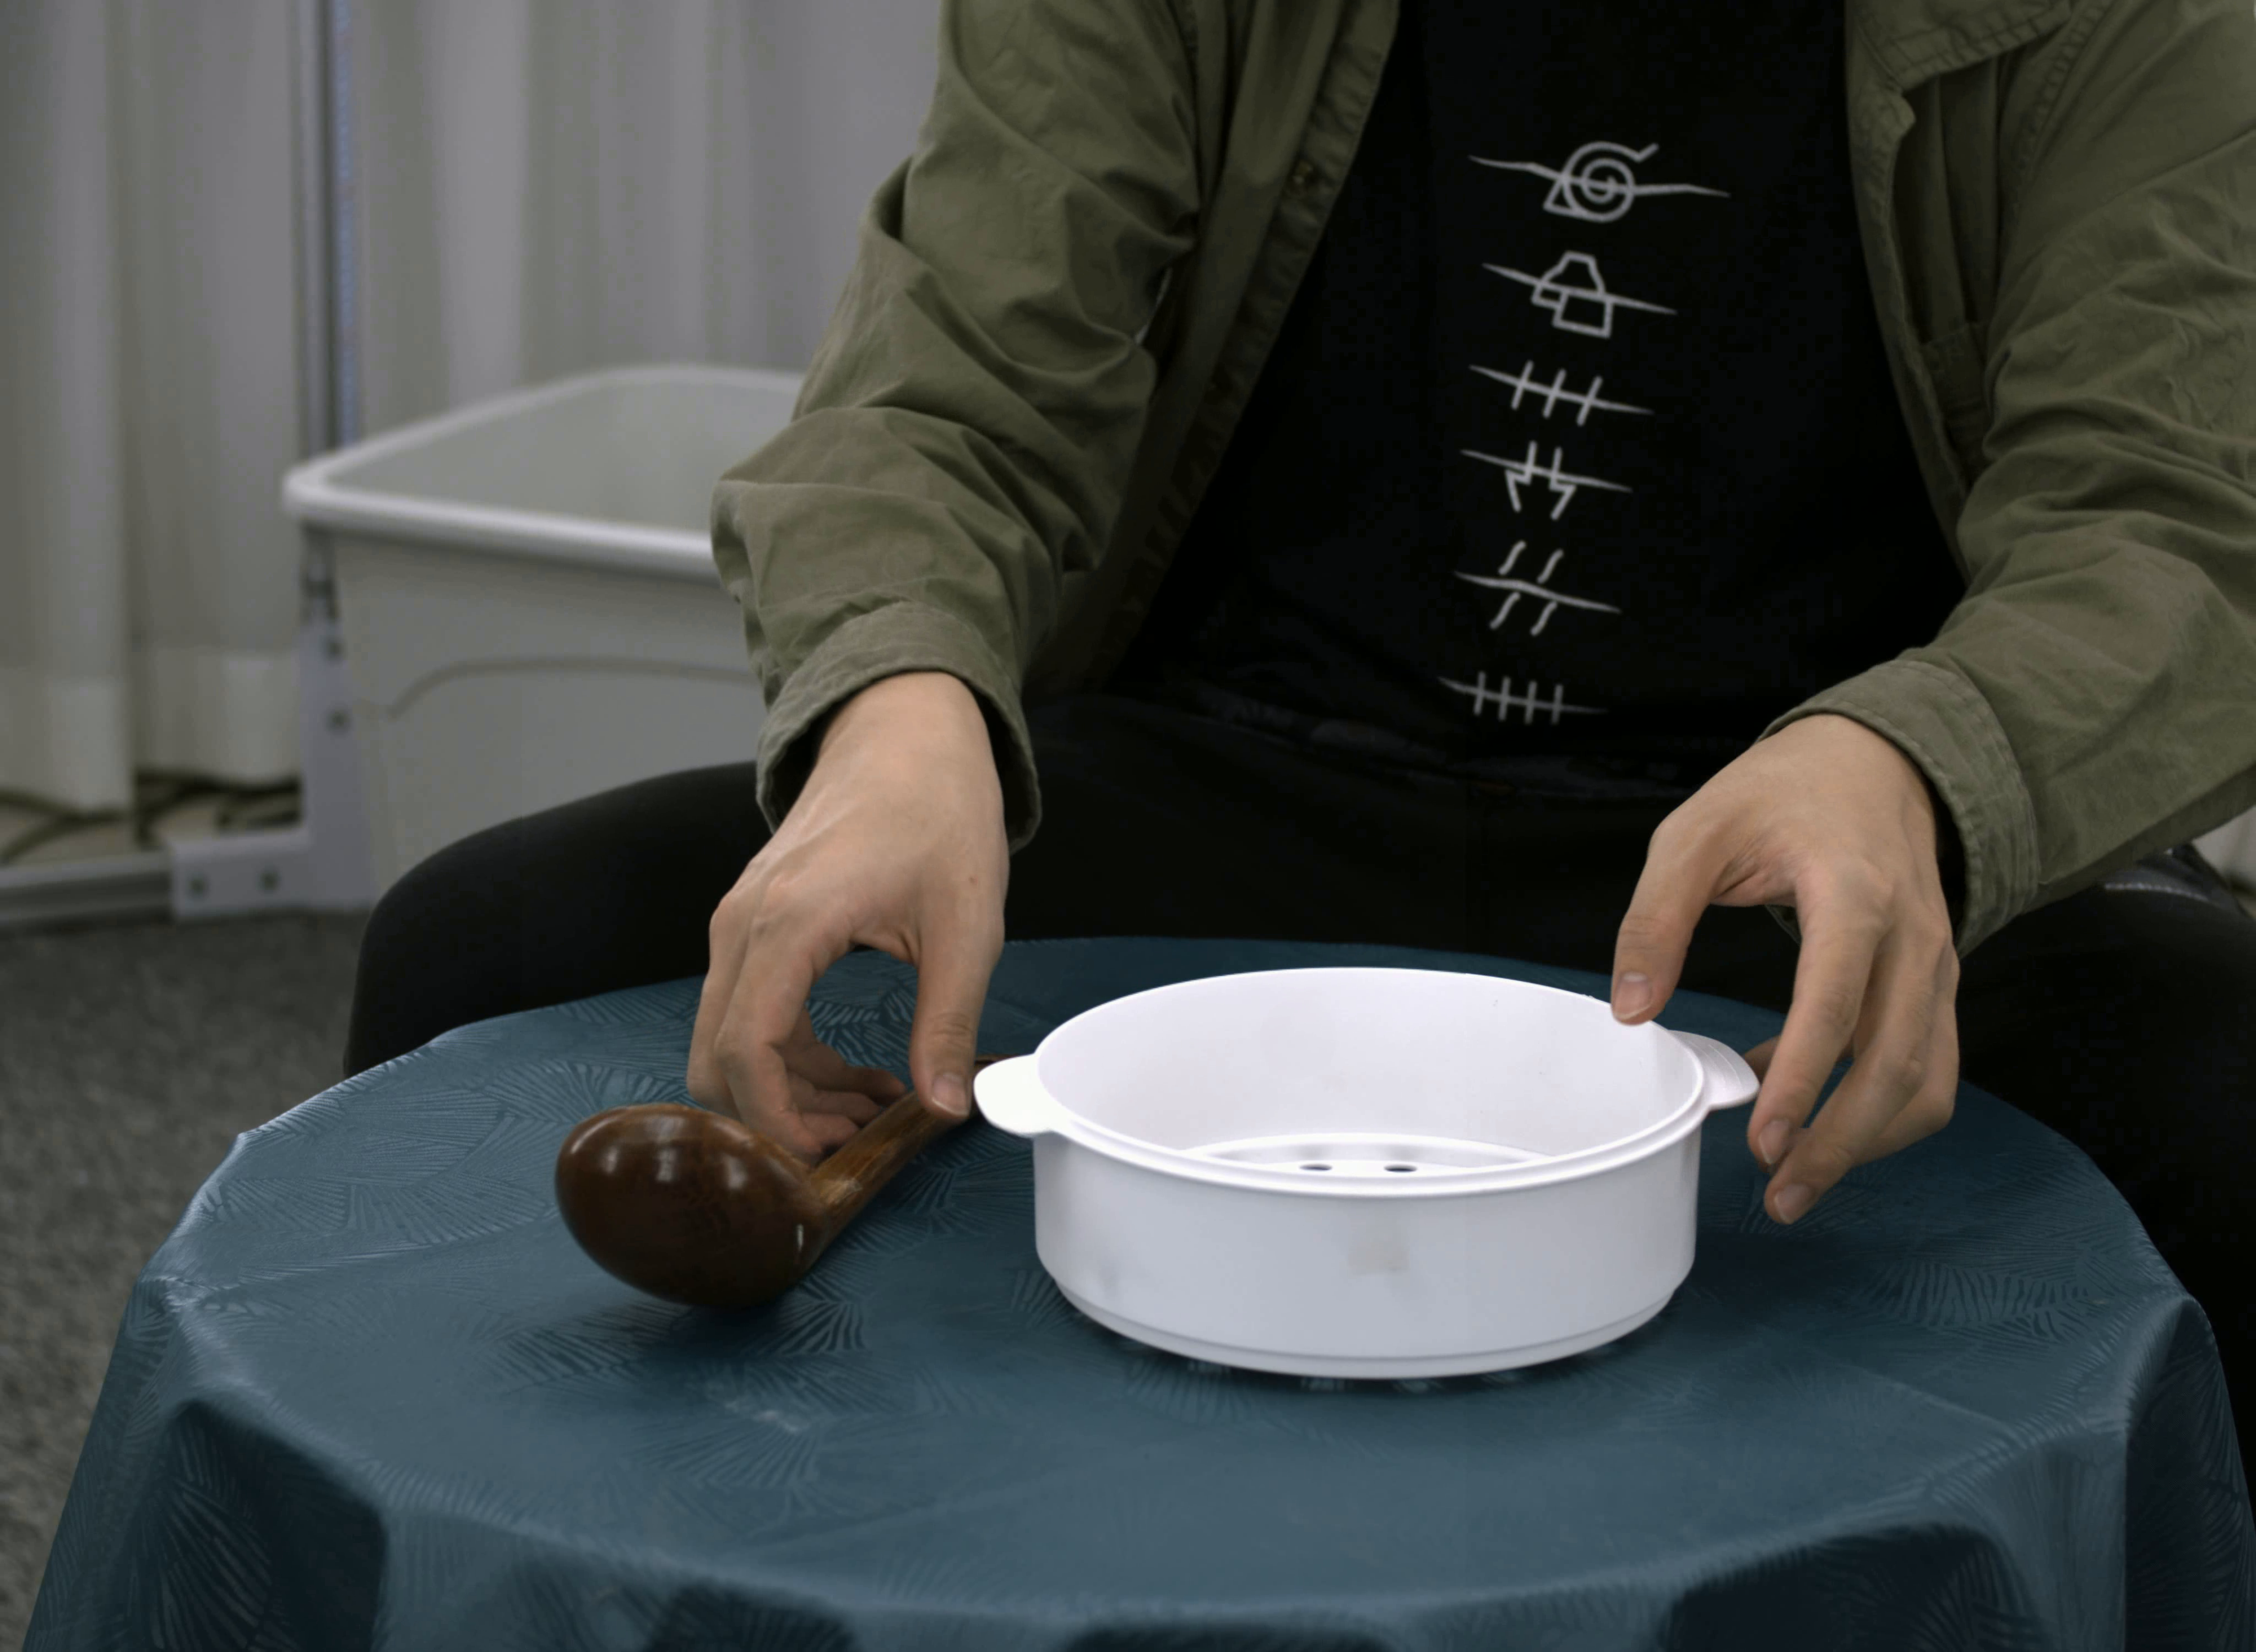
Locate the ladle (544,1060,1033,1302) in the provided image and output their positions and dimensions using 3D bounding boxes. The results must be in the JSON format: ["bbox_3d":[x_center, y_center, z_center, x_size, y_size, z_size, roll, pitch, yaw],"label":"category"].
[{"bbox_3d":[-0.089,0.082,1.594,0.081,0.077,0.274,4,15,21],"label":"ladle"}]

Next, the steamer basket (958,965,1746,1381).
[{"bbox_3d":[0.065,0.101,1.545,0.230,0.070,0.200,-1,16,-8],"label":"steamer basket"}]
